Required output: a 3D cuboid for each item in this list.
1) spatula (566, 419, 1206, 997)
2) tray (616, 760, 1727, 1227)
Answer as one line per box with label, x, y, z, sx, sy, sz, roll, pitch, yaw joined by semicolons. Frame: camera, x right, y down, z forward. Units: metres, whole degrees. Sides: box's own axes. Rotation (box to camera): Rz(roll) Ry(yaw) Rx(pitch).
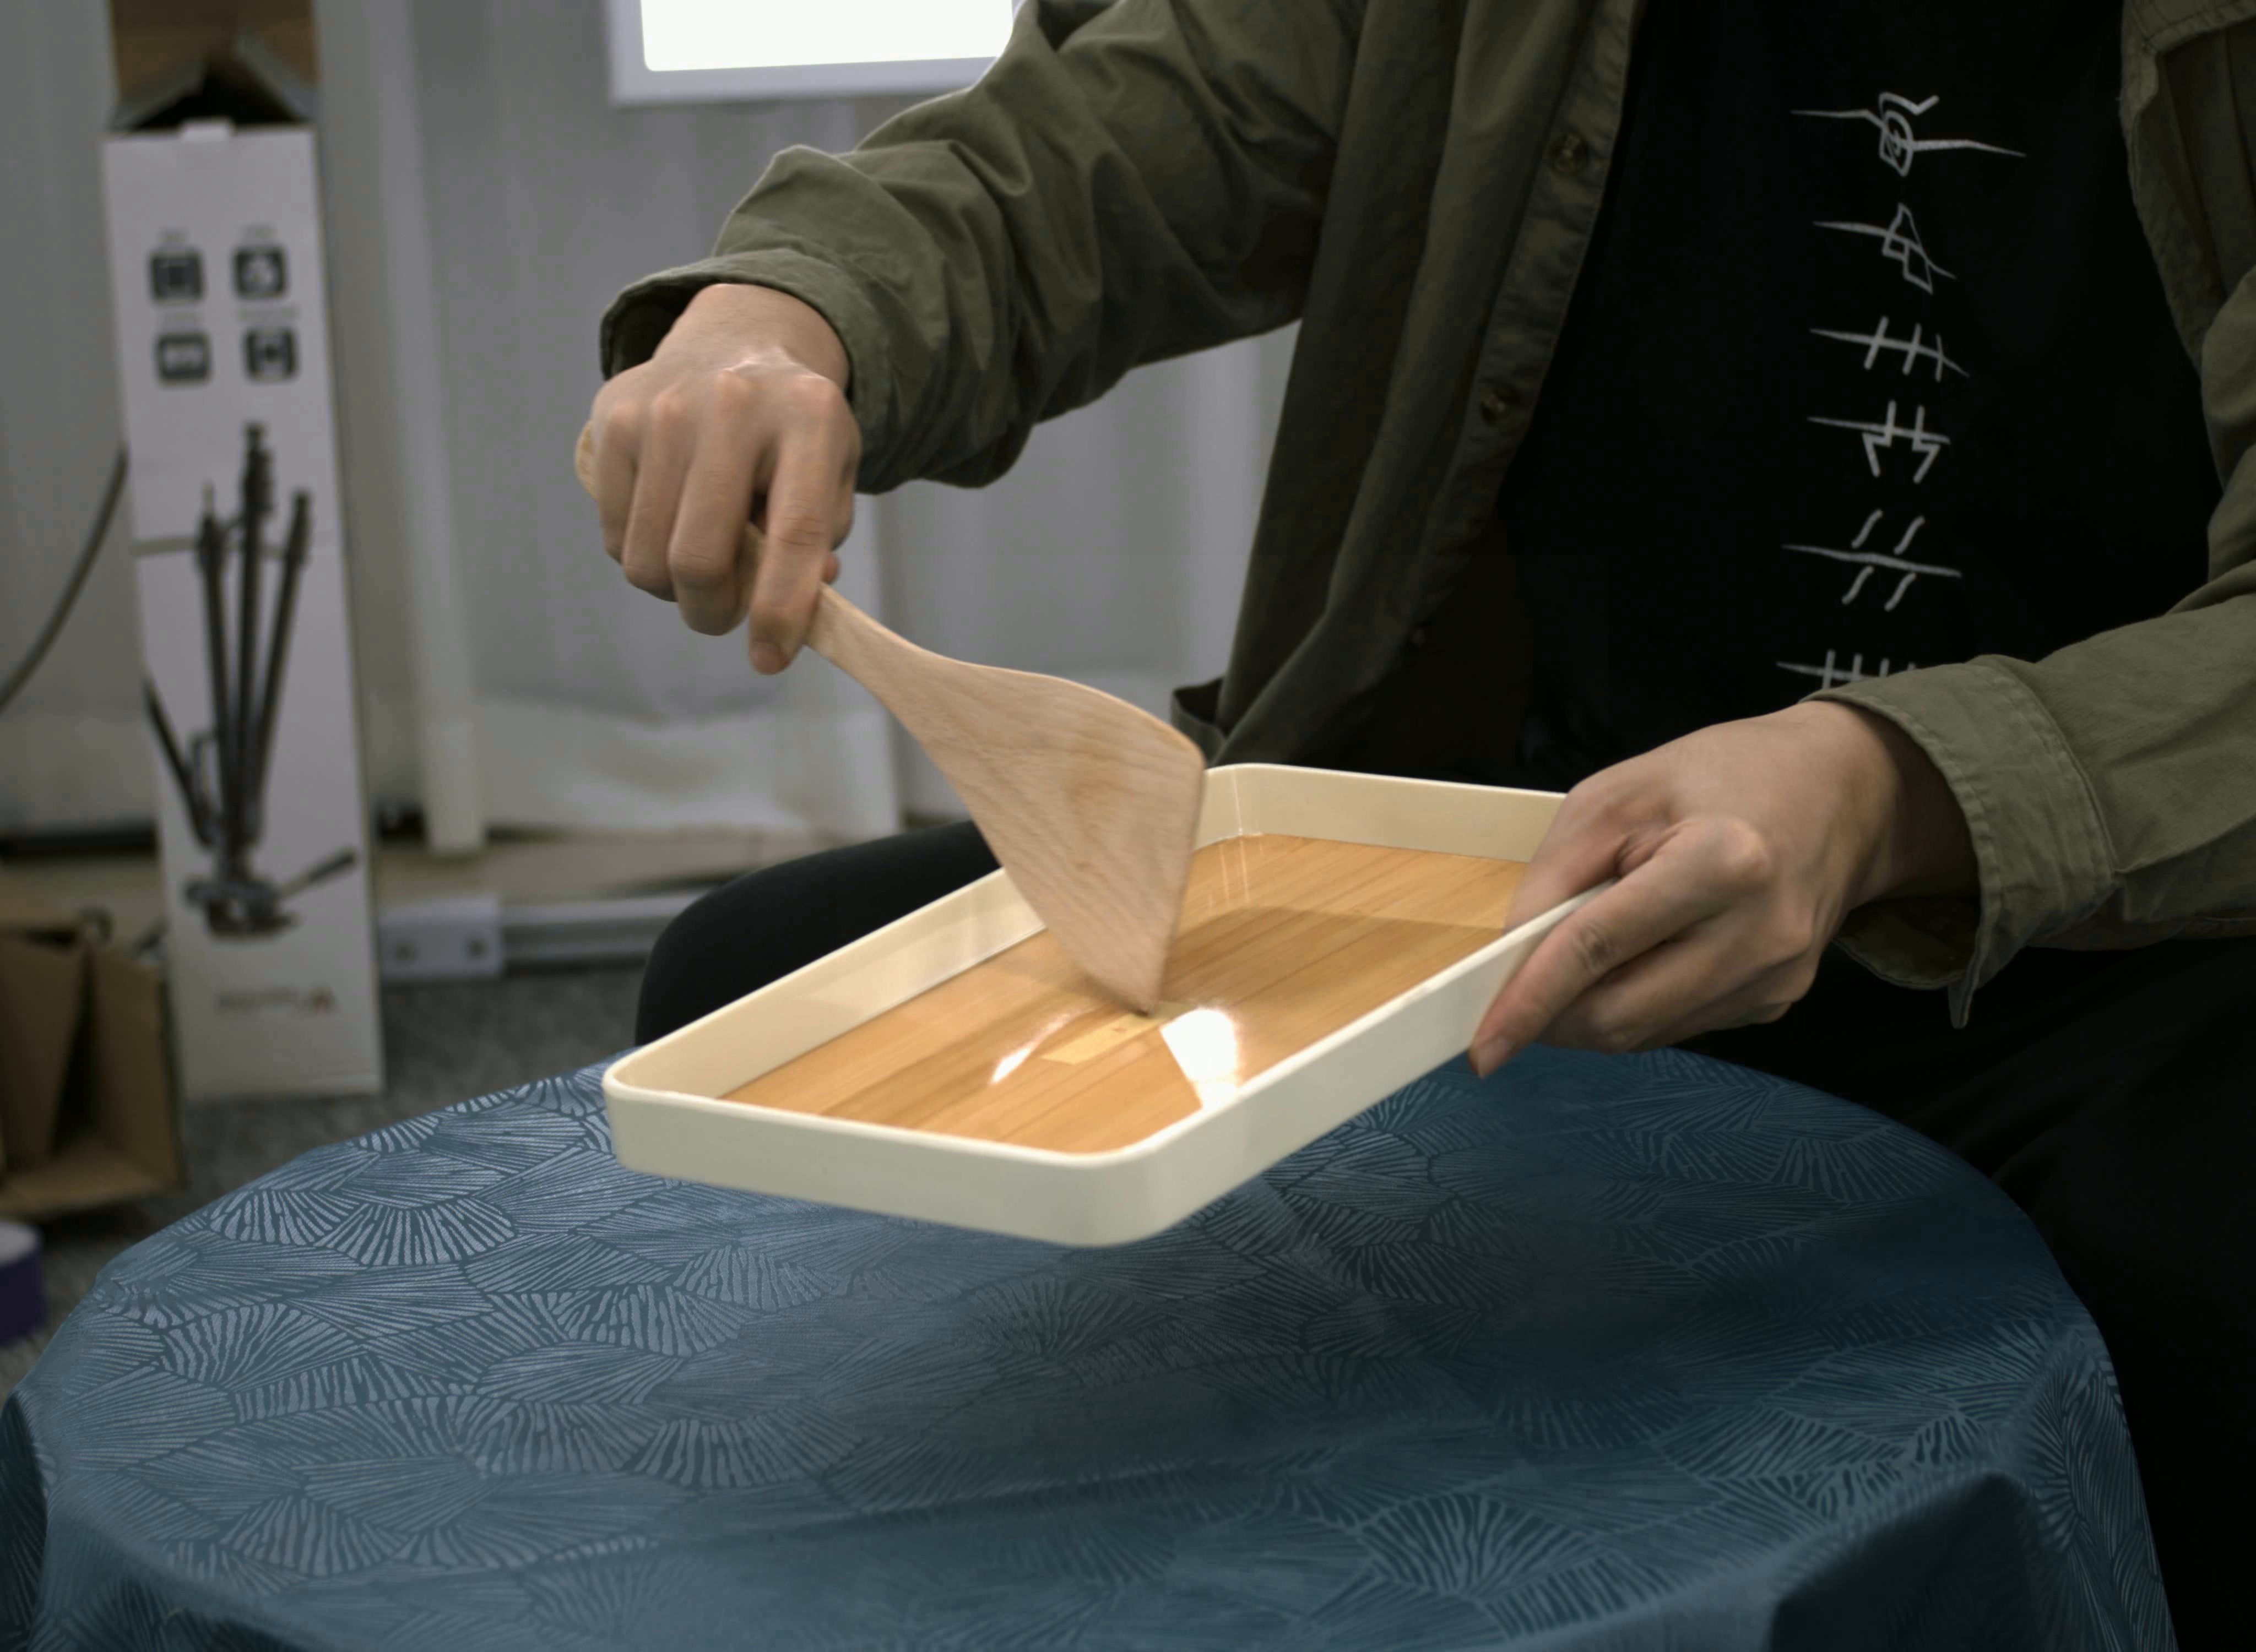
spatula;-0.079;-0.053;1.647;0.016;0.079;0.331;1;24;-43
tray;0.018;0.042;1.555;0.192;0.027;0.300;7;21;38
